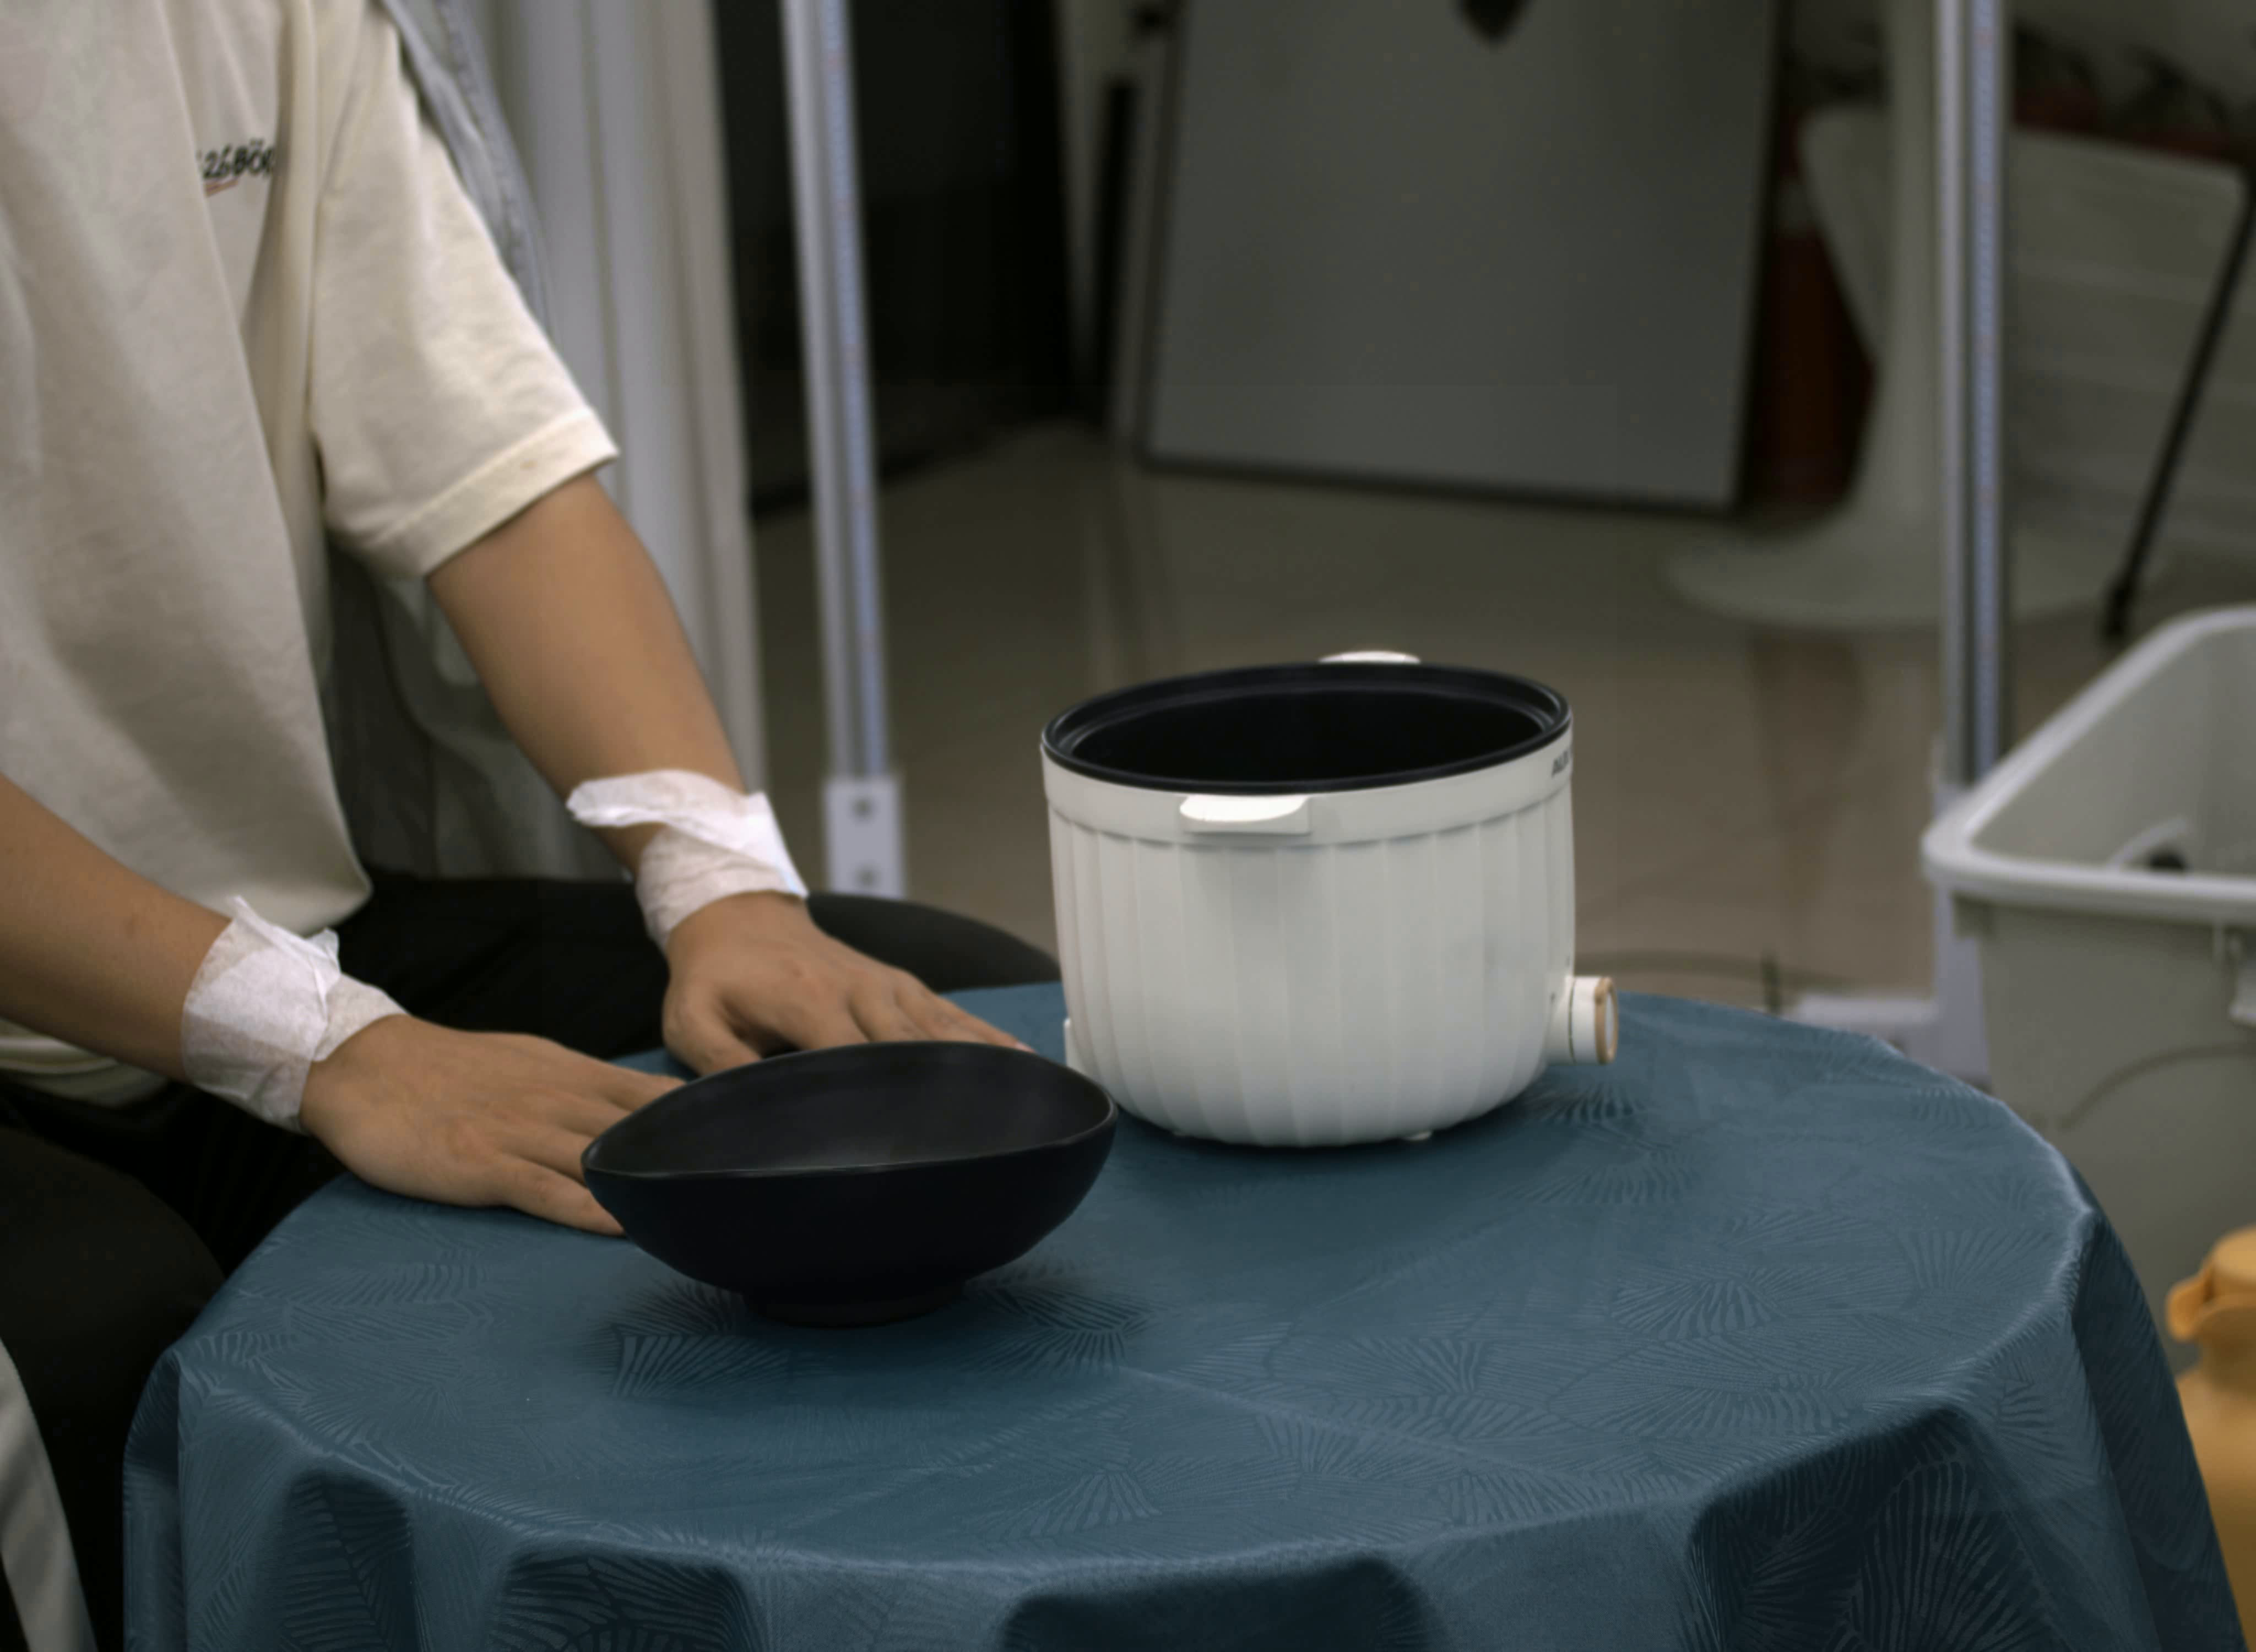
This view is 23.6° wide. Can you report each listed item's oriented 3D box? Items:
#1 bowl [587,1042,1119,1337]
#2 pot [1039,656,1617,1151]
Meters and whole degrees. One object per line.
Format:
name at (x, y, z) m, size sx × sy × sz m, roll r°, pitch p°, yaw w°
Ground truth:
bowl at (-0.085, 0.118, 1.680) m, size 0.168 × 0.067 × 0.137 m, roll -4°, pitch 12°, yaw 5°
pot at (0.069, 0.028, 1.843) m, size 0.190 × 0.144 × 0.239 m, roll -4°, pitch 14°, yaw 15°
